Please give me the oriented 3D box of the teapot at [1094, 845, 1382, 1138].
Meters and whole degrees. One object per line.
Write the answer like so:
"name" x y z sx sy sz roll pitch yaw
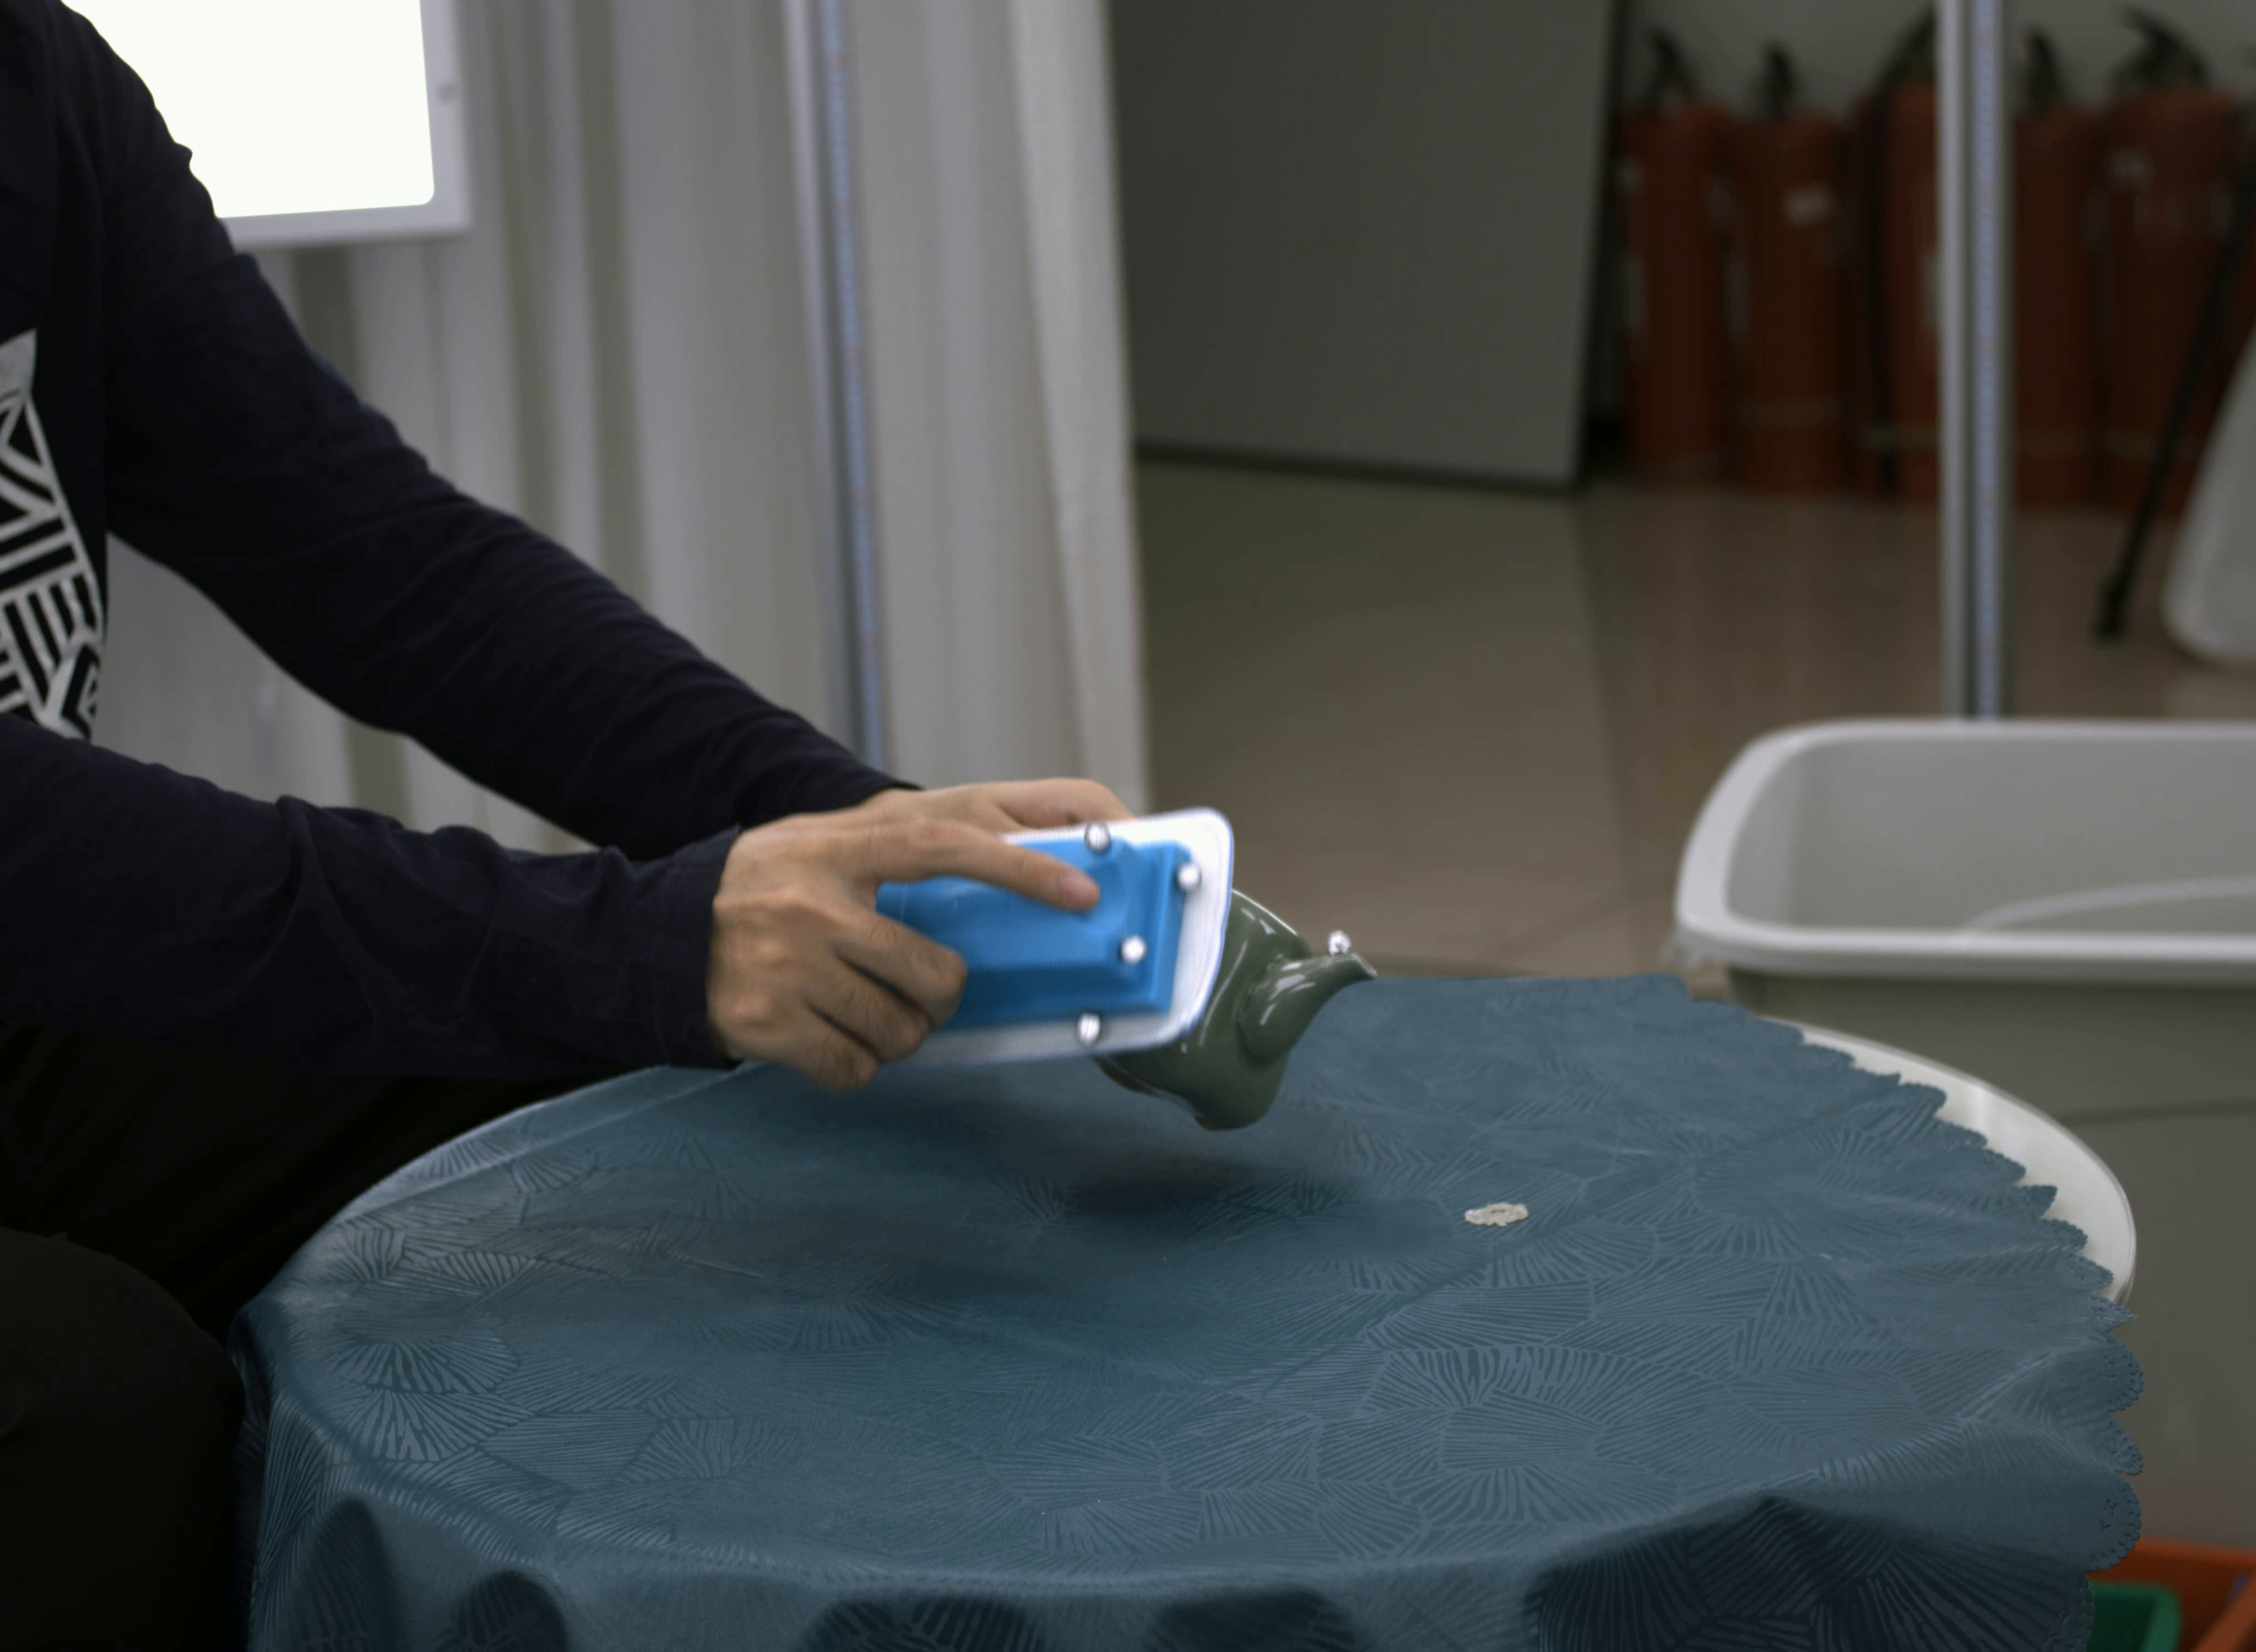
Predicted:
"teapot" 0.021 0.055 1.784 0.134 0.075 0.078 22 -10 41

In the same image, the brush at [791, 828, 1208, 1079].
"brush" -0.047 0.034 1.701 0.144 0.084 0.055 -2 -29 33
